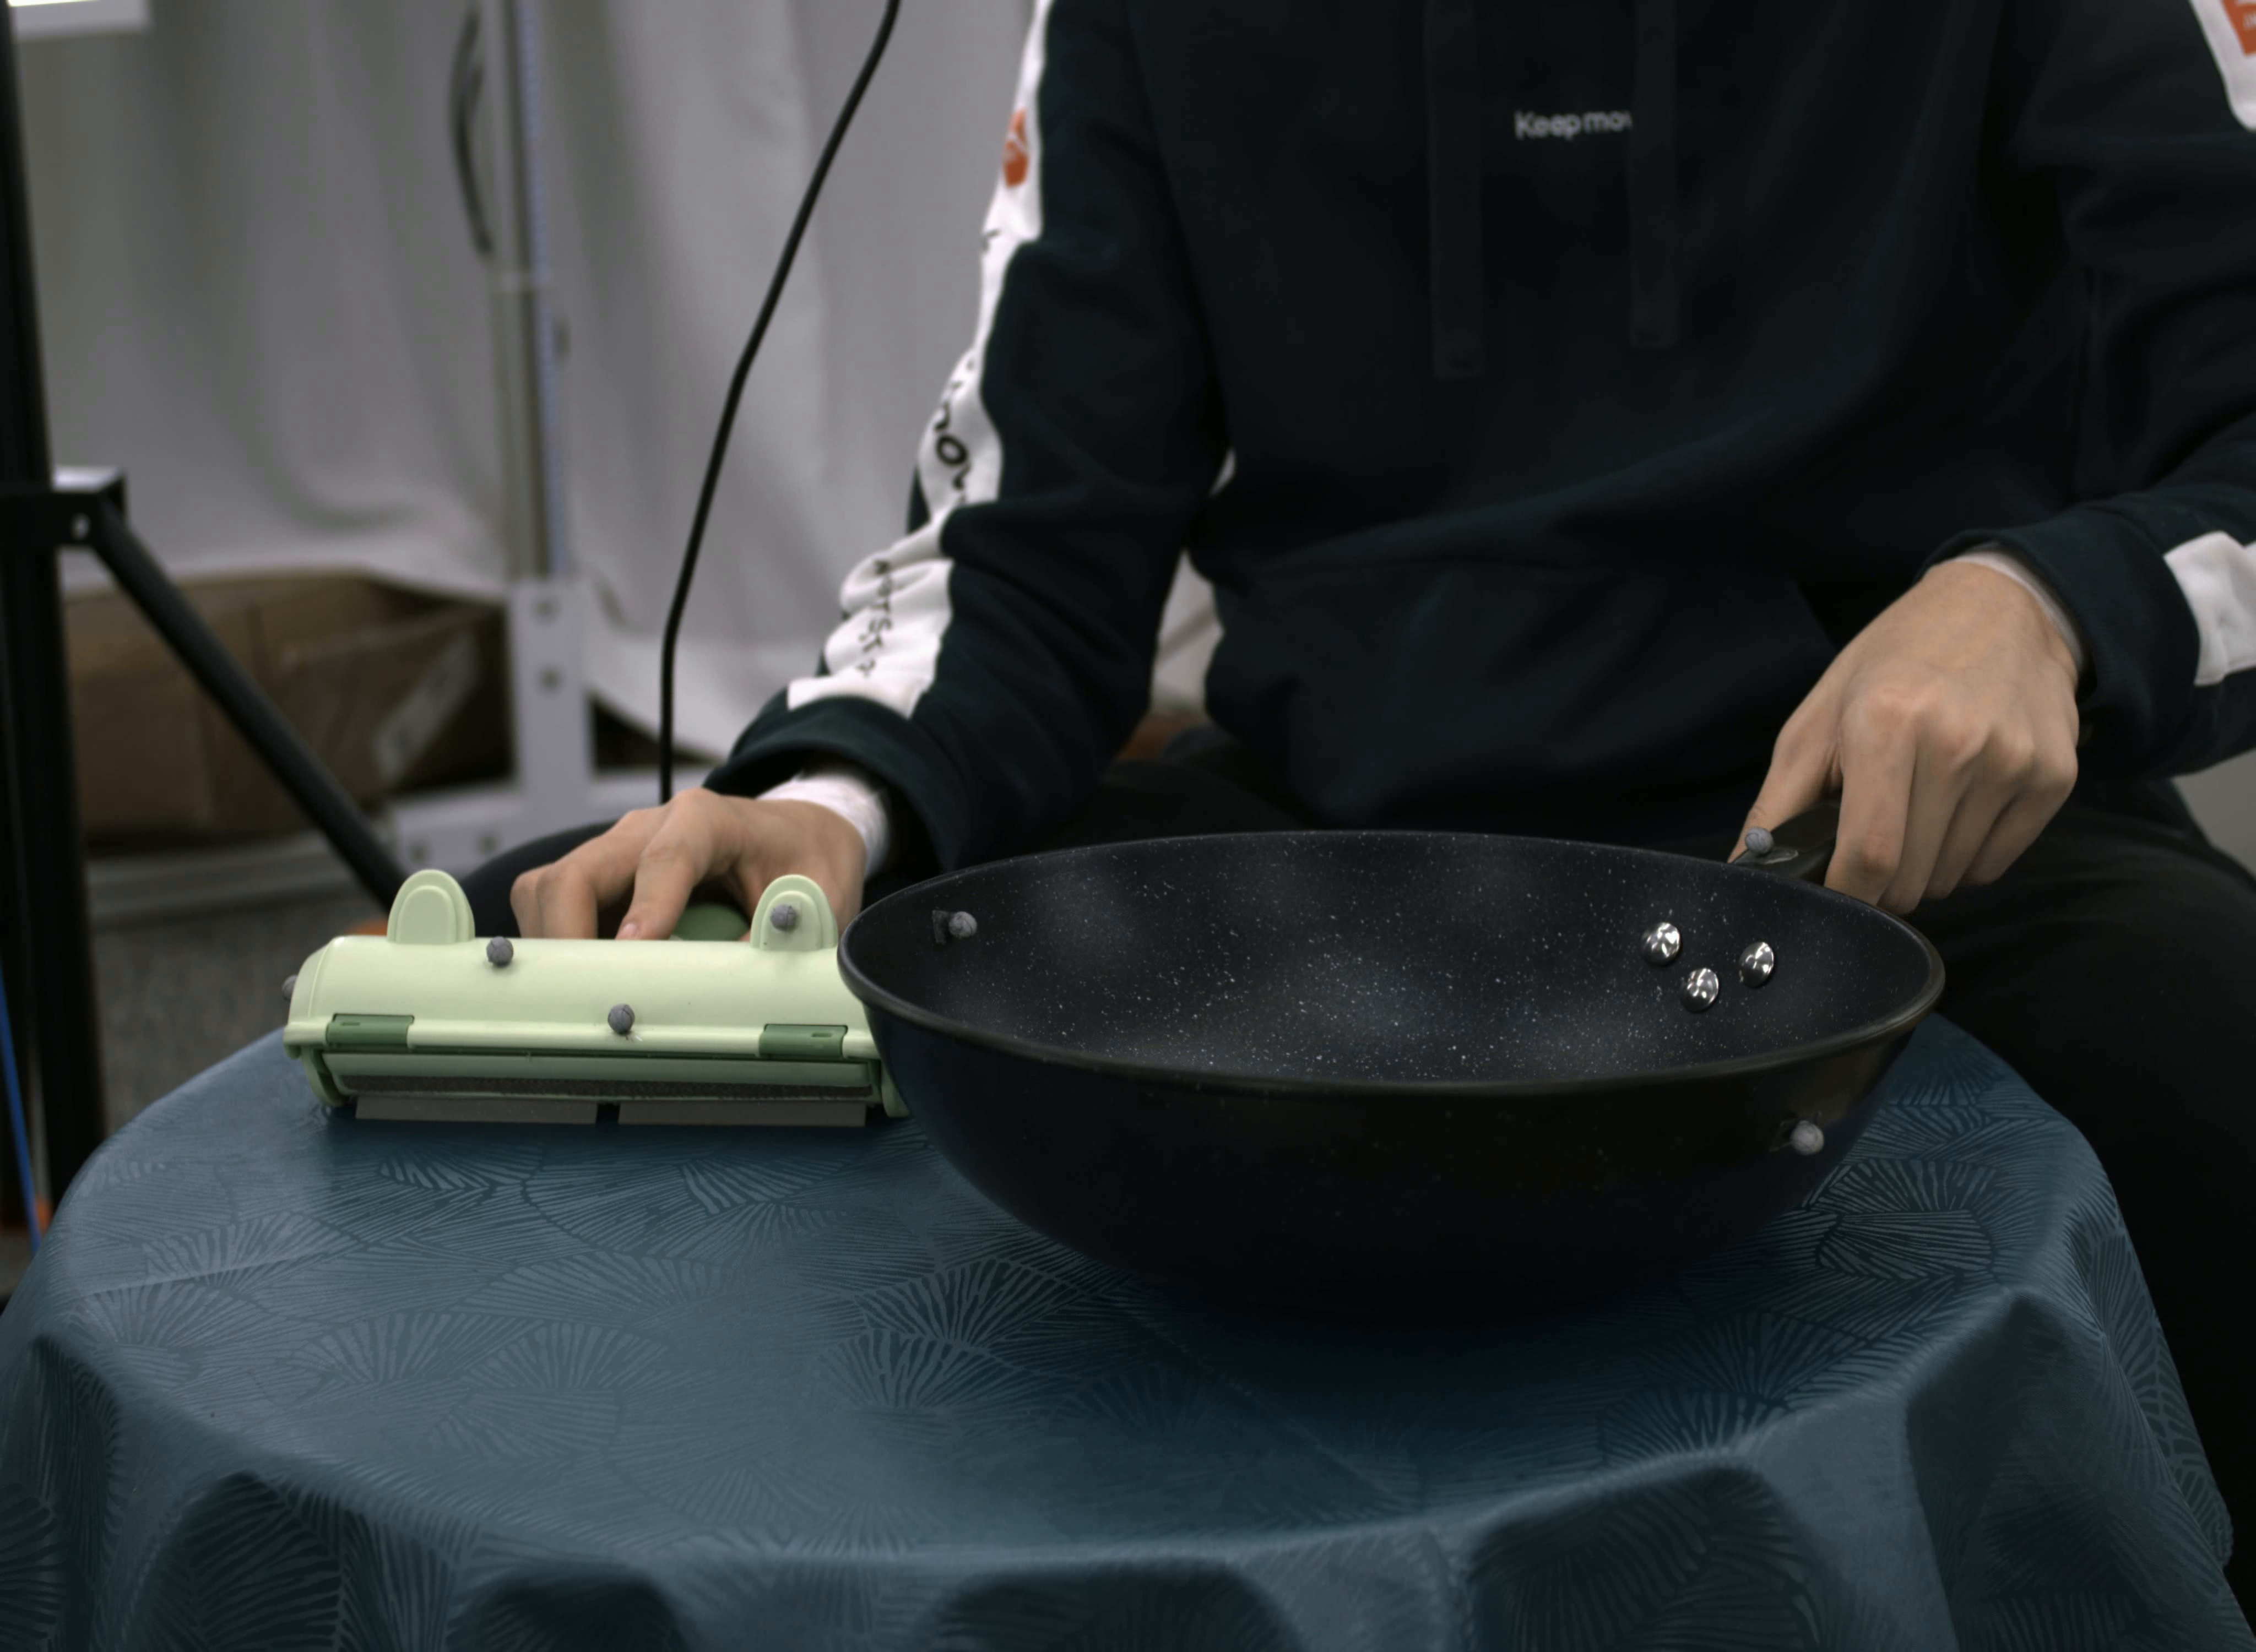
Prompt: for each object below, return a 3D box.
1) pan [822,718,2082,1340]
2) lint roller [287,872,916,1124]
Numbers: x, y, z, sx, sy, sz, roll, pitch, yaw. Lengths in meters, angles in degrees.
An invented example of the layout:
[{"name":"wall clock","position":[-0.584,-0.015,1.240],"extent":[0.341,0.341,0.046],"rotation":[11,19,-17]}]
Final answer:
[{"name":"pan","position":[0.127,0.055,1.534],"extent":[0.465,0.112,0.317],"rotation":[-11,18,-43]},{"name":"lint roller","position":[-0.149,0.037,1.699],"extent":[0.199,0.082,0.183],"rotation":[0,21,12]}]
